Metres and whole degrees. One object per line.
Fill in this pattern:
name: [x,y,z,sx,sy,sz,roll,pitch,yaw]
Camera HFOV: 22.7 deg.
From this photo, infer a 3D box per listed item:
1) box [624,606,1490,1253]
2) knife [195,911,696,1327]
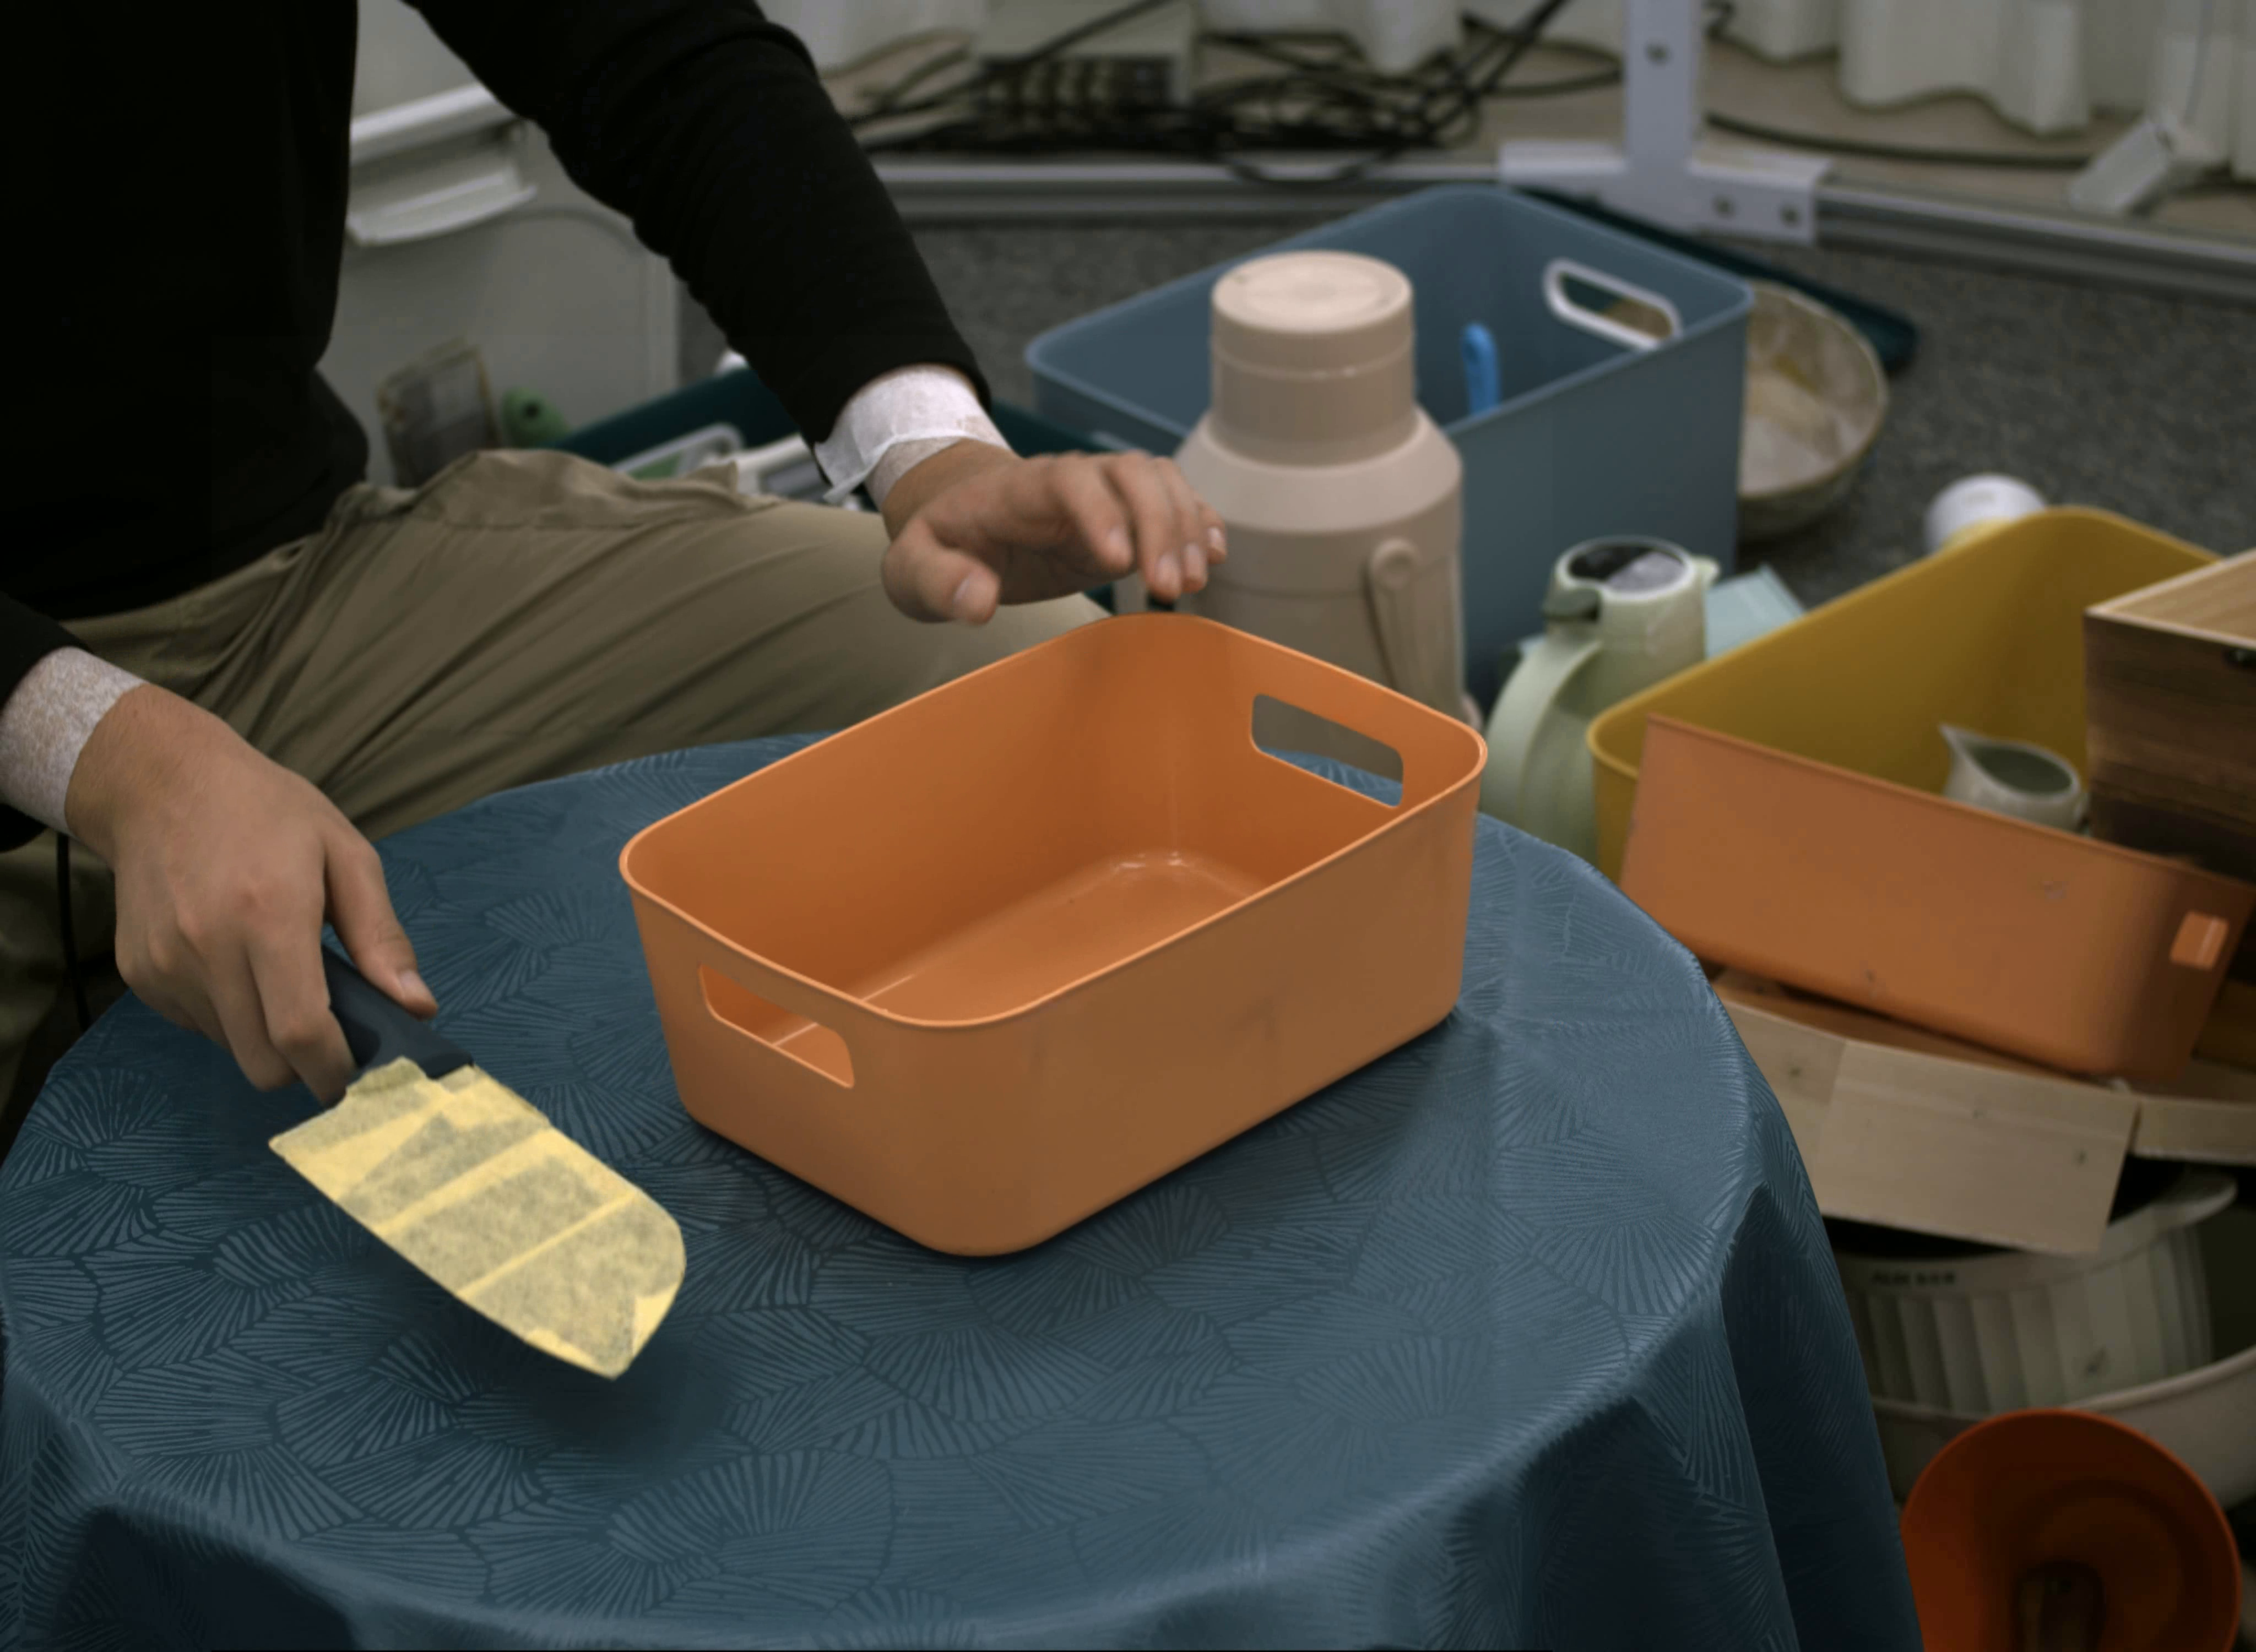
box: [-0.021,0.034,1.921,0.276,0.101,0.199,-26,36,-37]
knife: [-0.232,0.096,1.815,0.082,0.027,0.290,-22,36,-31]
